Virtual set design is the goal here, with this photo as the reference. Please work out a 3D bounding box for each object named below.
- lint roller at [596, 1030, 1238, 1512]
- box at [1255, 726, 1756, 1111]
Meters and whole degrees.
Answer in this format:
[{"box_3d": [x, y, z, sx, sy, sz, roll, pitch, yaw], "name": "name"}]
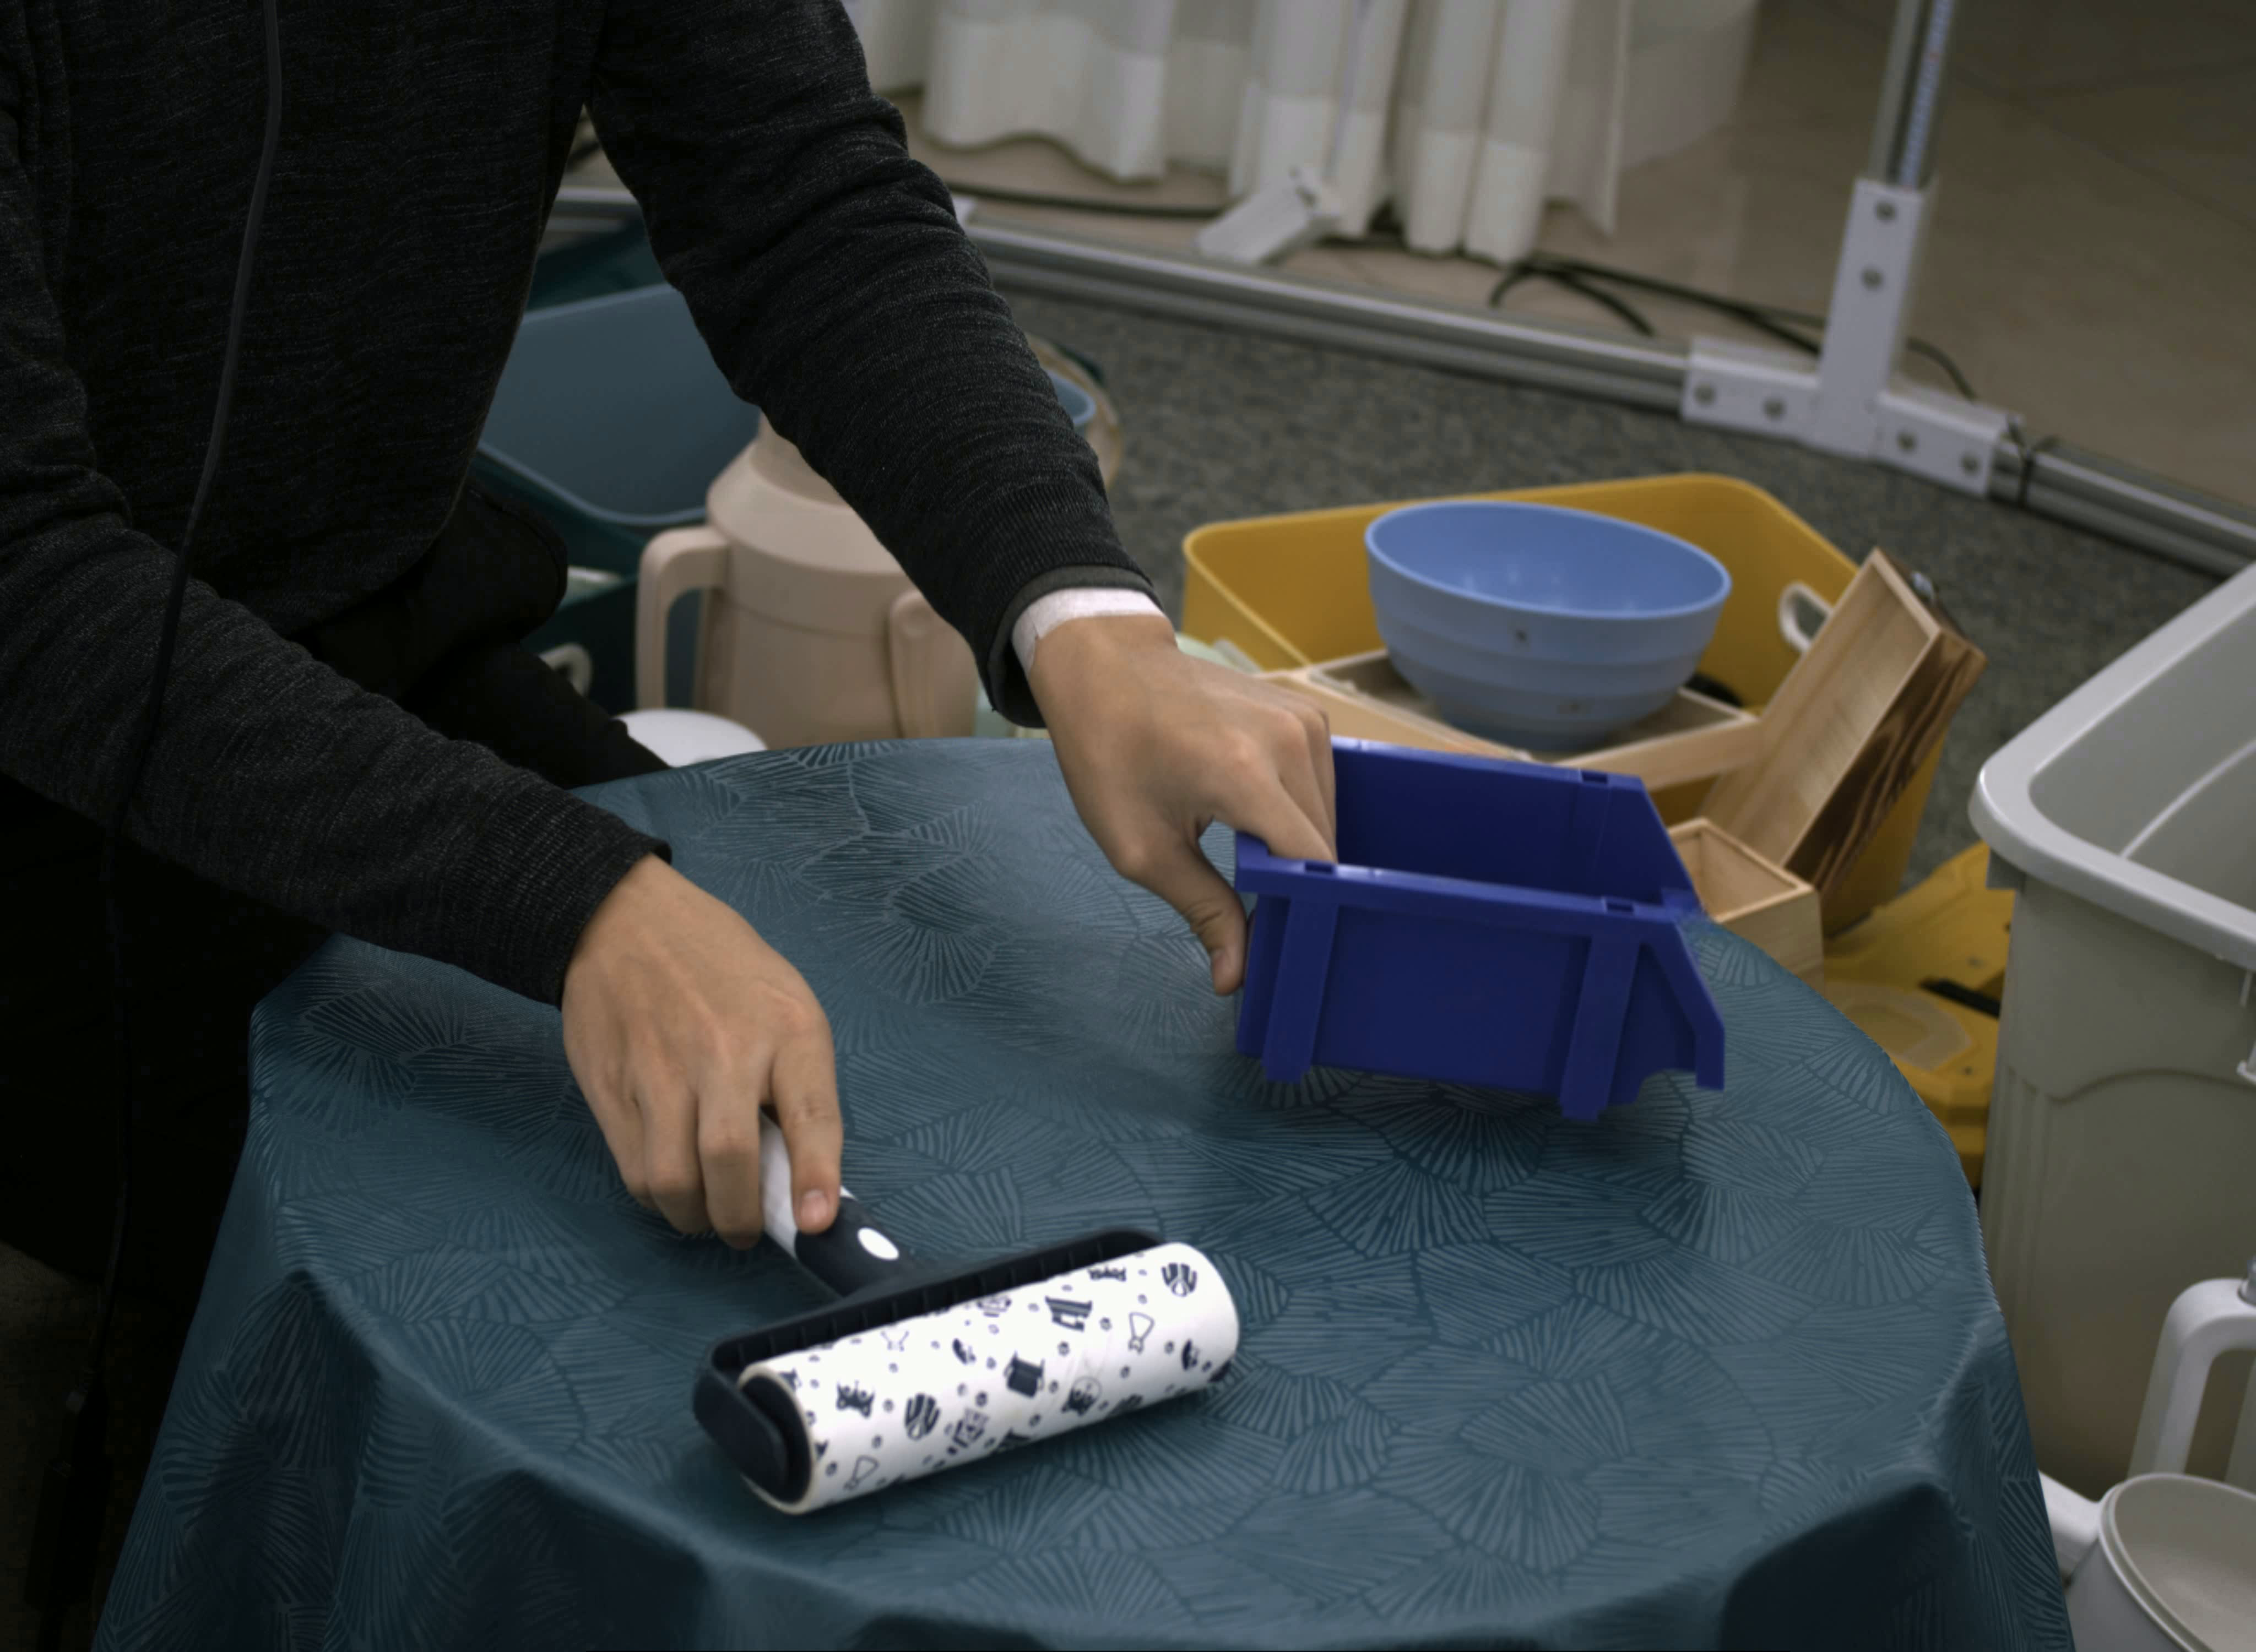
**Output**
[{"box_3d": [-0.103, 0.125, 1.717, 0.175, 0.050, 0.249, -14, 35, -33], "name": "lint roller"}, {"box_3d": [0.130, 0.032, 1.868, 0.179, 0.081, 0.125, 5, 24, -1], "name": "box"}]
